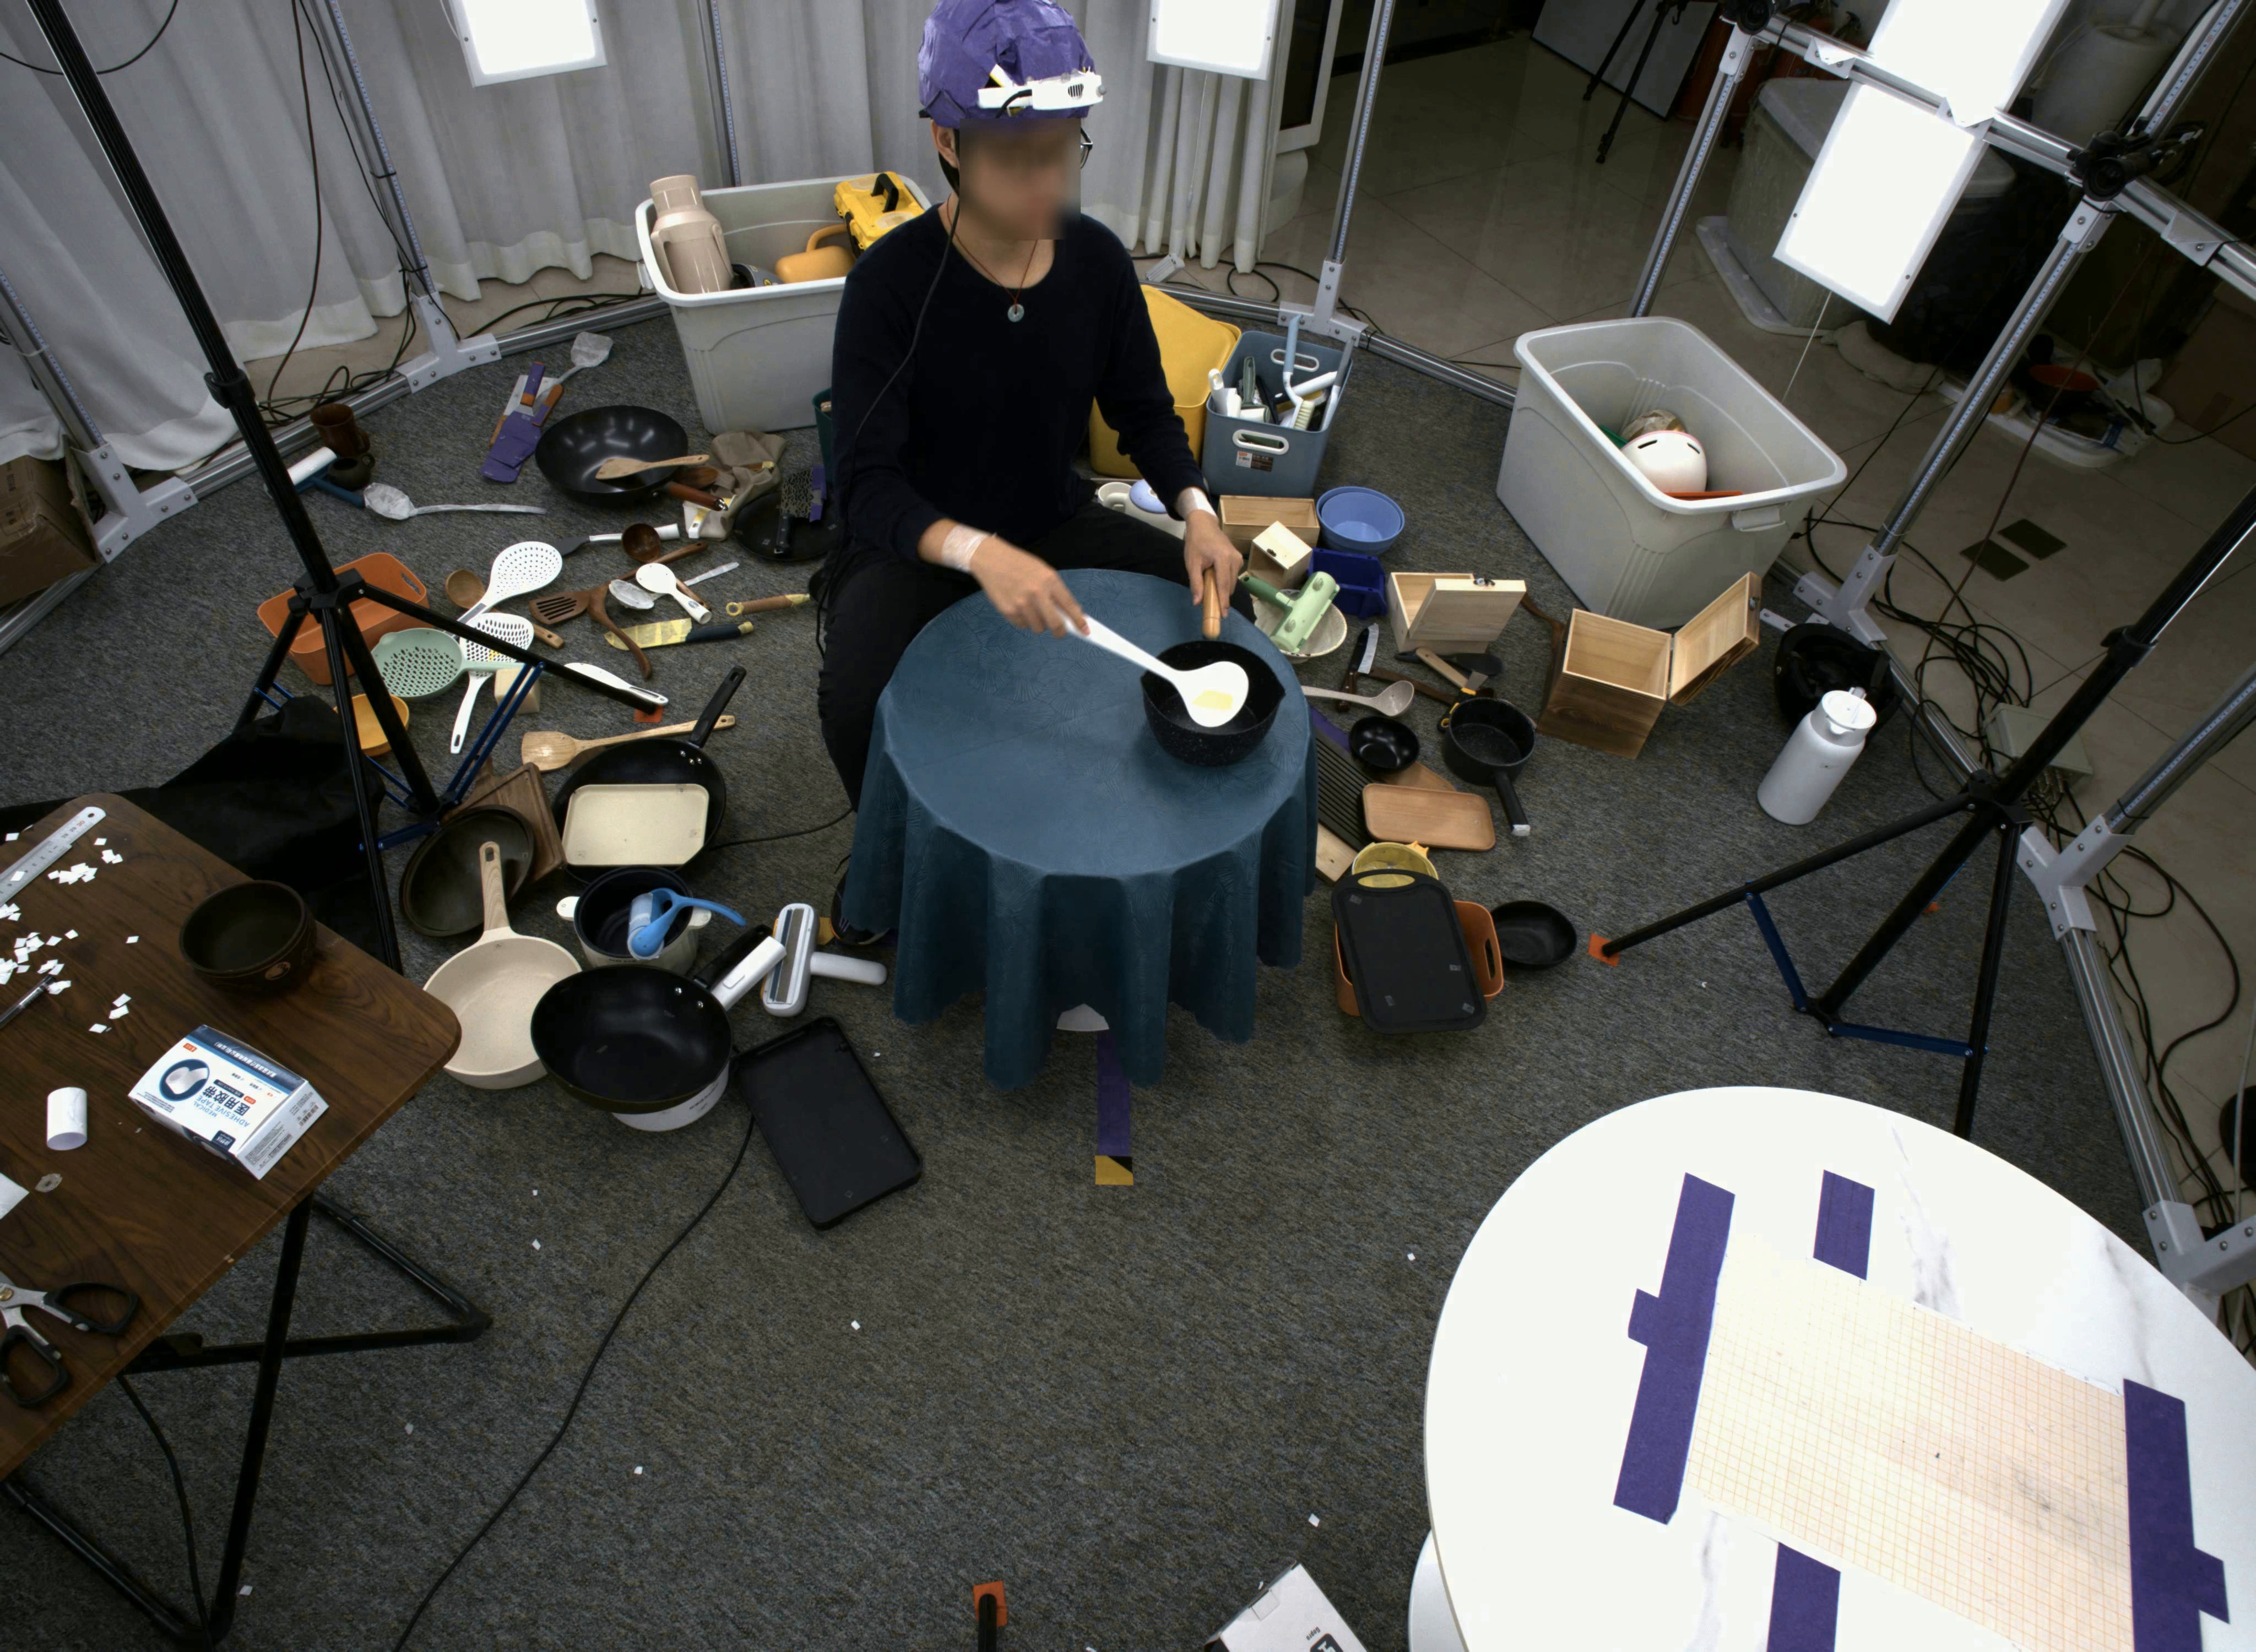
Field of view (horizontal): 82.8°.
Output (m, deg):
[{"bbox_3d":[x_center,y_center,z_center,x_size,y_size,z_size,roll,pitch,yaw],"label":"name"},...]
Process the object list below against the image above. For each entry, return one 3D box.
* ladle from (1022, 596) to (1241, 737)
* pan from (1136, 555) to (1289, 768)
[{"bbox_3d":[0.002,-0.209,1.612,0.292,0.070,0.090,28,90,-4],"label":"ladle"},{"bbox_3d":[0.114,-0.233,1.809,0.207,0.105,0.351,2,50,-1],"label":"pan"}]
